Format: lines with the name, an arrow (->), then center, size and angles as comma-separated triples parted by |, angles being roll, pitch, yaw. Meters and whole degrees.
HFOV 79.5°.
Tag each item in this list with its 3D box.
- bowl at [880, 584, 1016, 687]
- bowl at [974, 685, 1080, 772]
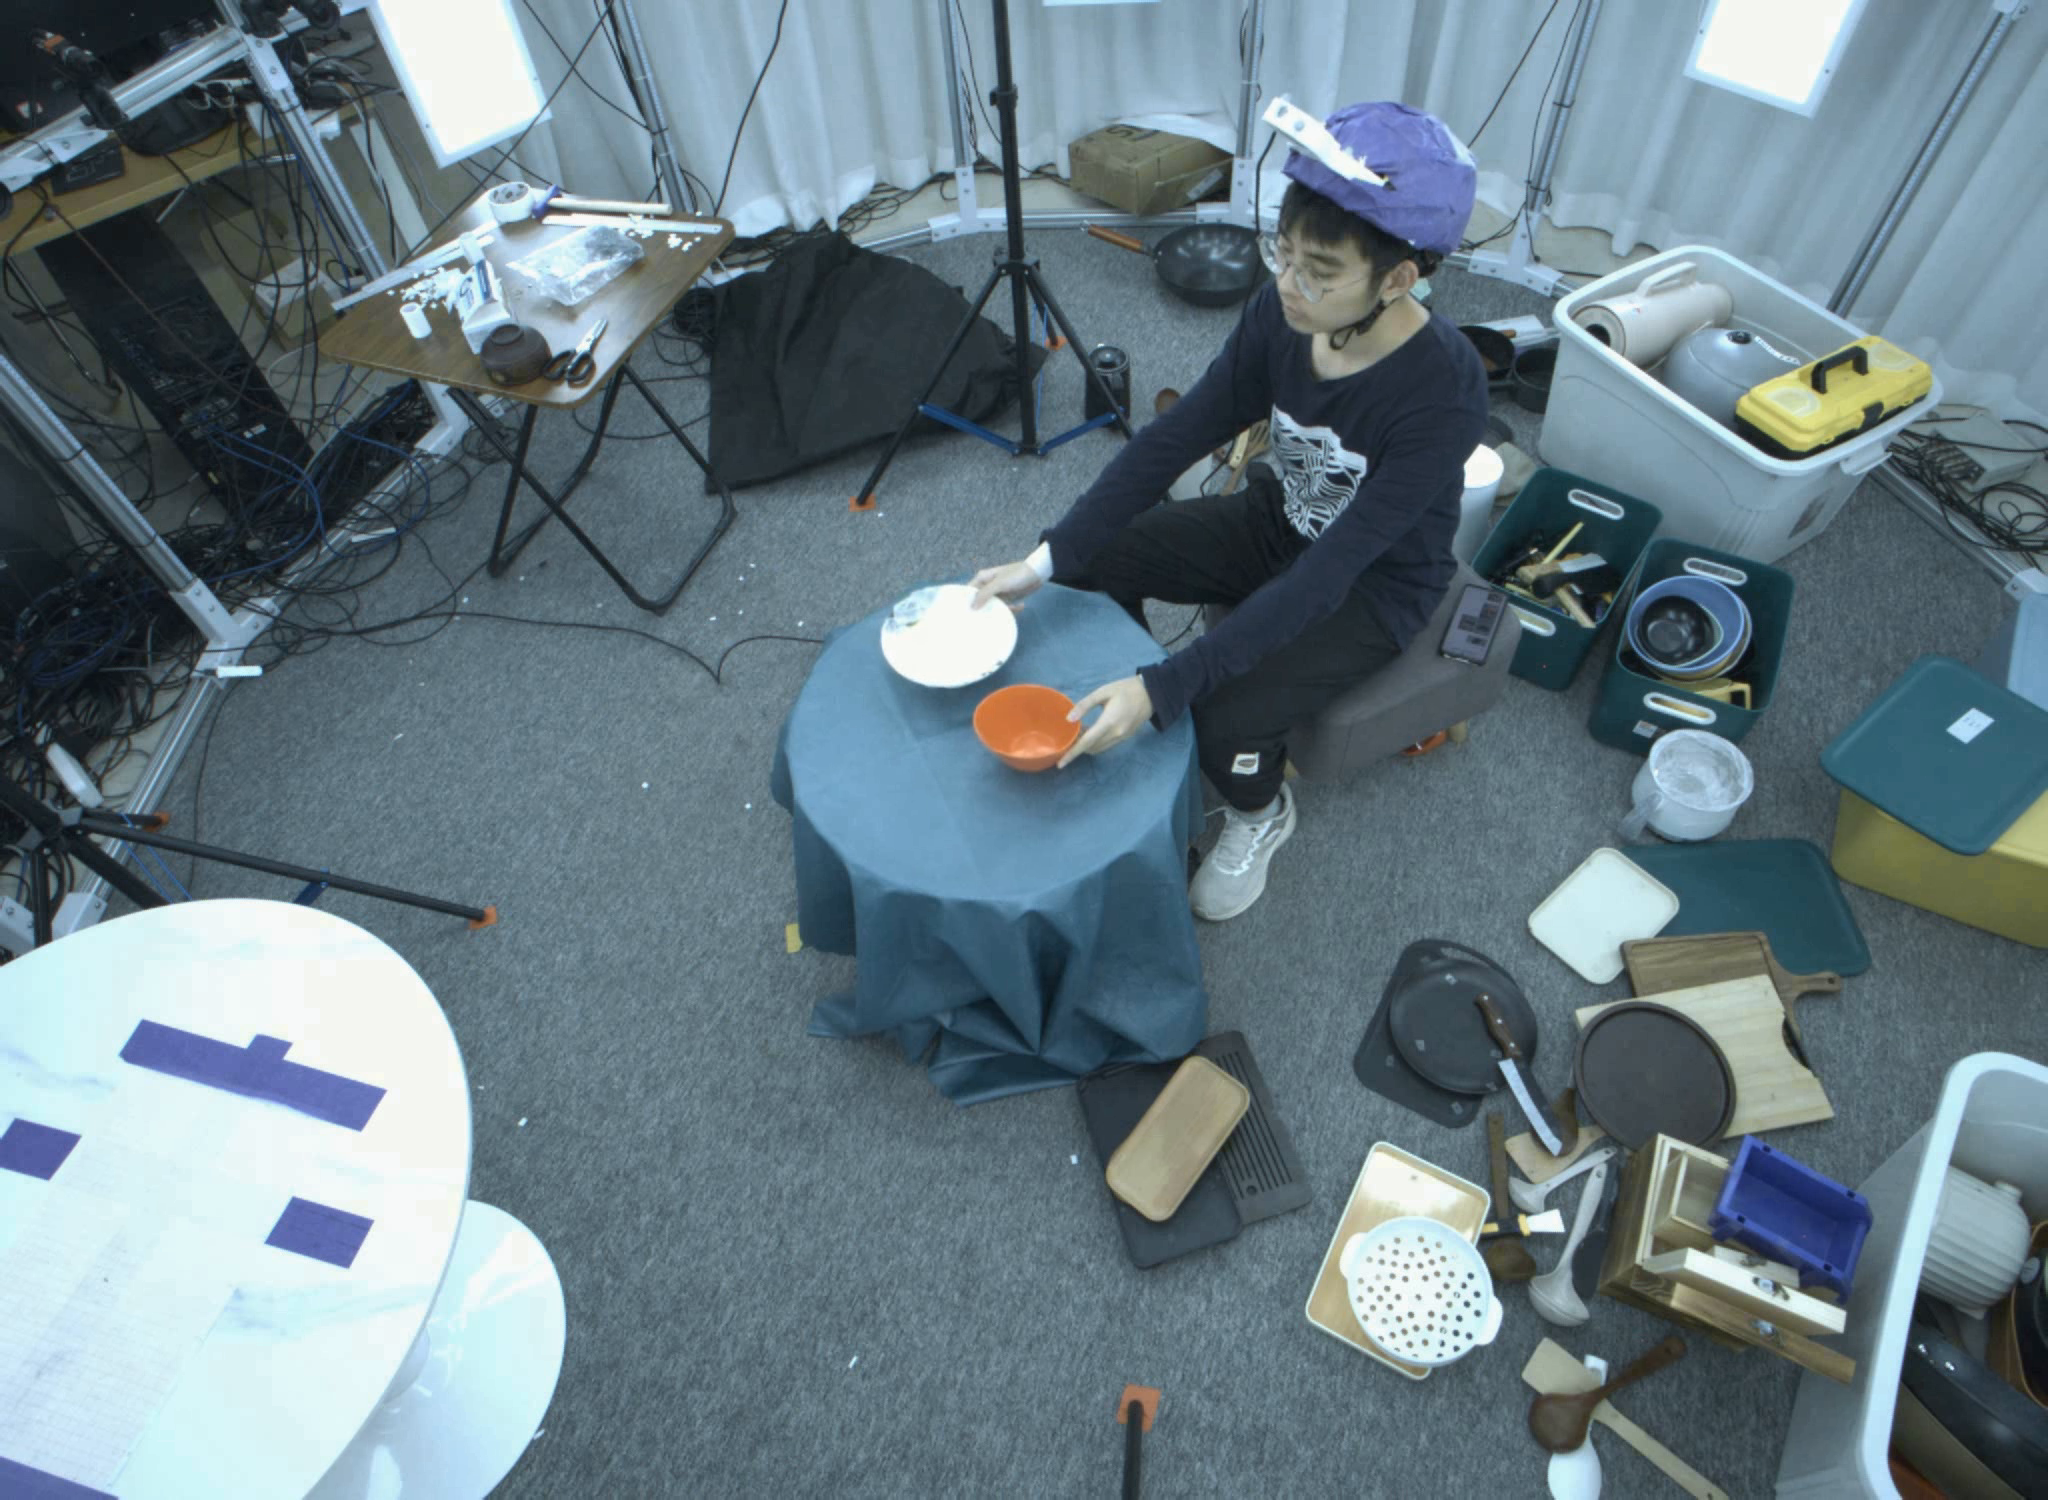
bowl -> -0.113, -0.153, 1.859 | 0.204, 0.079, 0.202 | 1, 53, 0
bowl -> 0.006, -0.017, 1.745 | 0.148, 0.106, 0.146 | 0, 53, 1
